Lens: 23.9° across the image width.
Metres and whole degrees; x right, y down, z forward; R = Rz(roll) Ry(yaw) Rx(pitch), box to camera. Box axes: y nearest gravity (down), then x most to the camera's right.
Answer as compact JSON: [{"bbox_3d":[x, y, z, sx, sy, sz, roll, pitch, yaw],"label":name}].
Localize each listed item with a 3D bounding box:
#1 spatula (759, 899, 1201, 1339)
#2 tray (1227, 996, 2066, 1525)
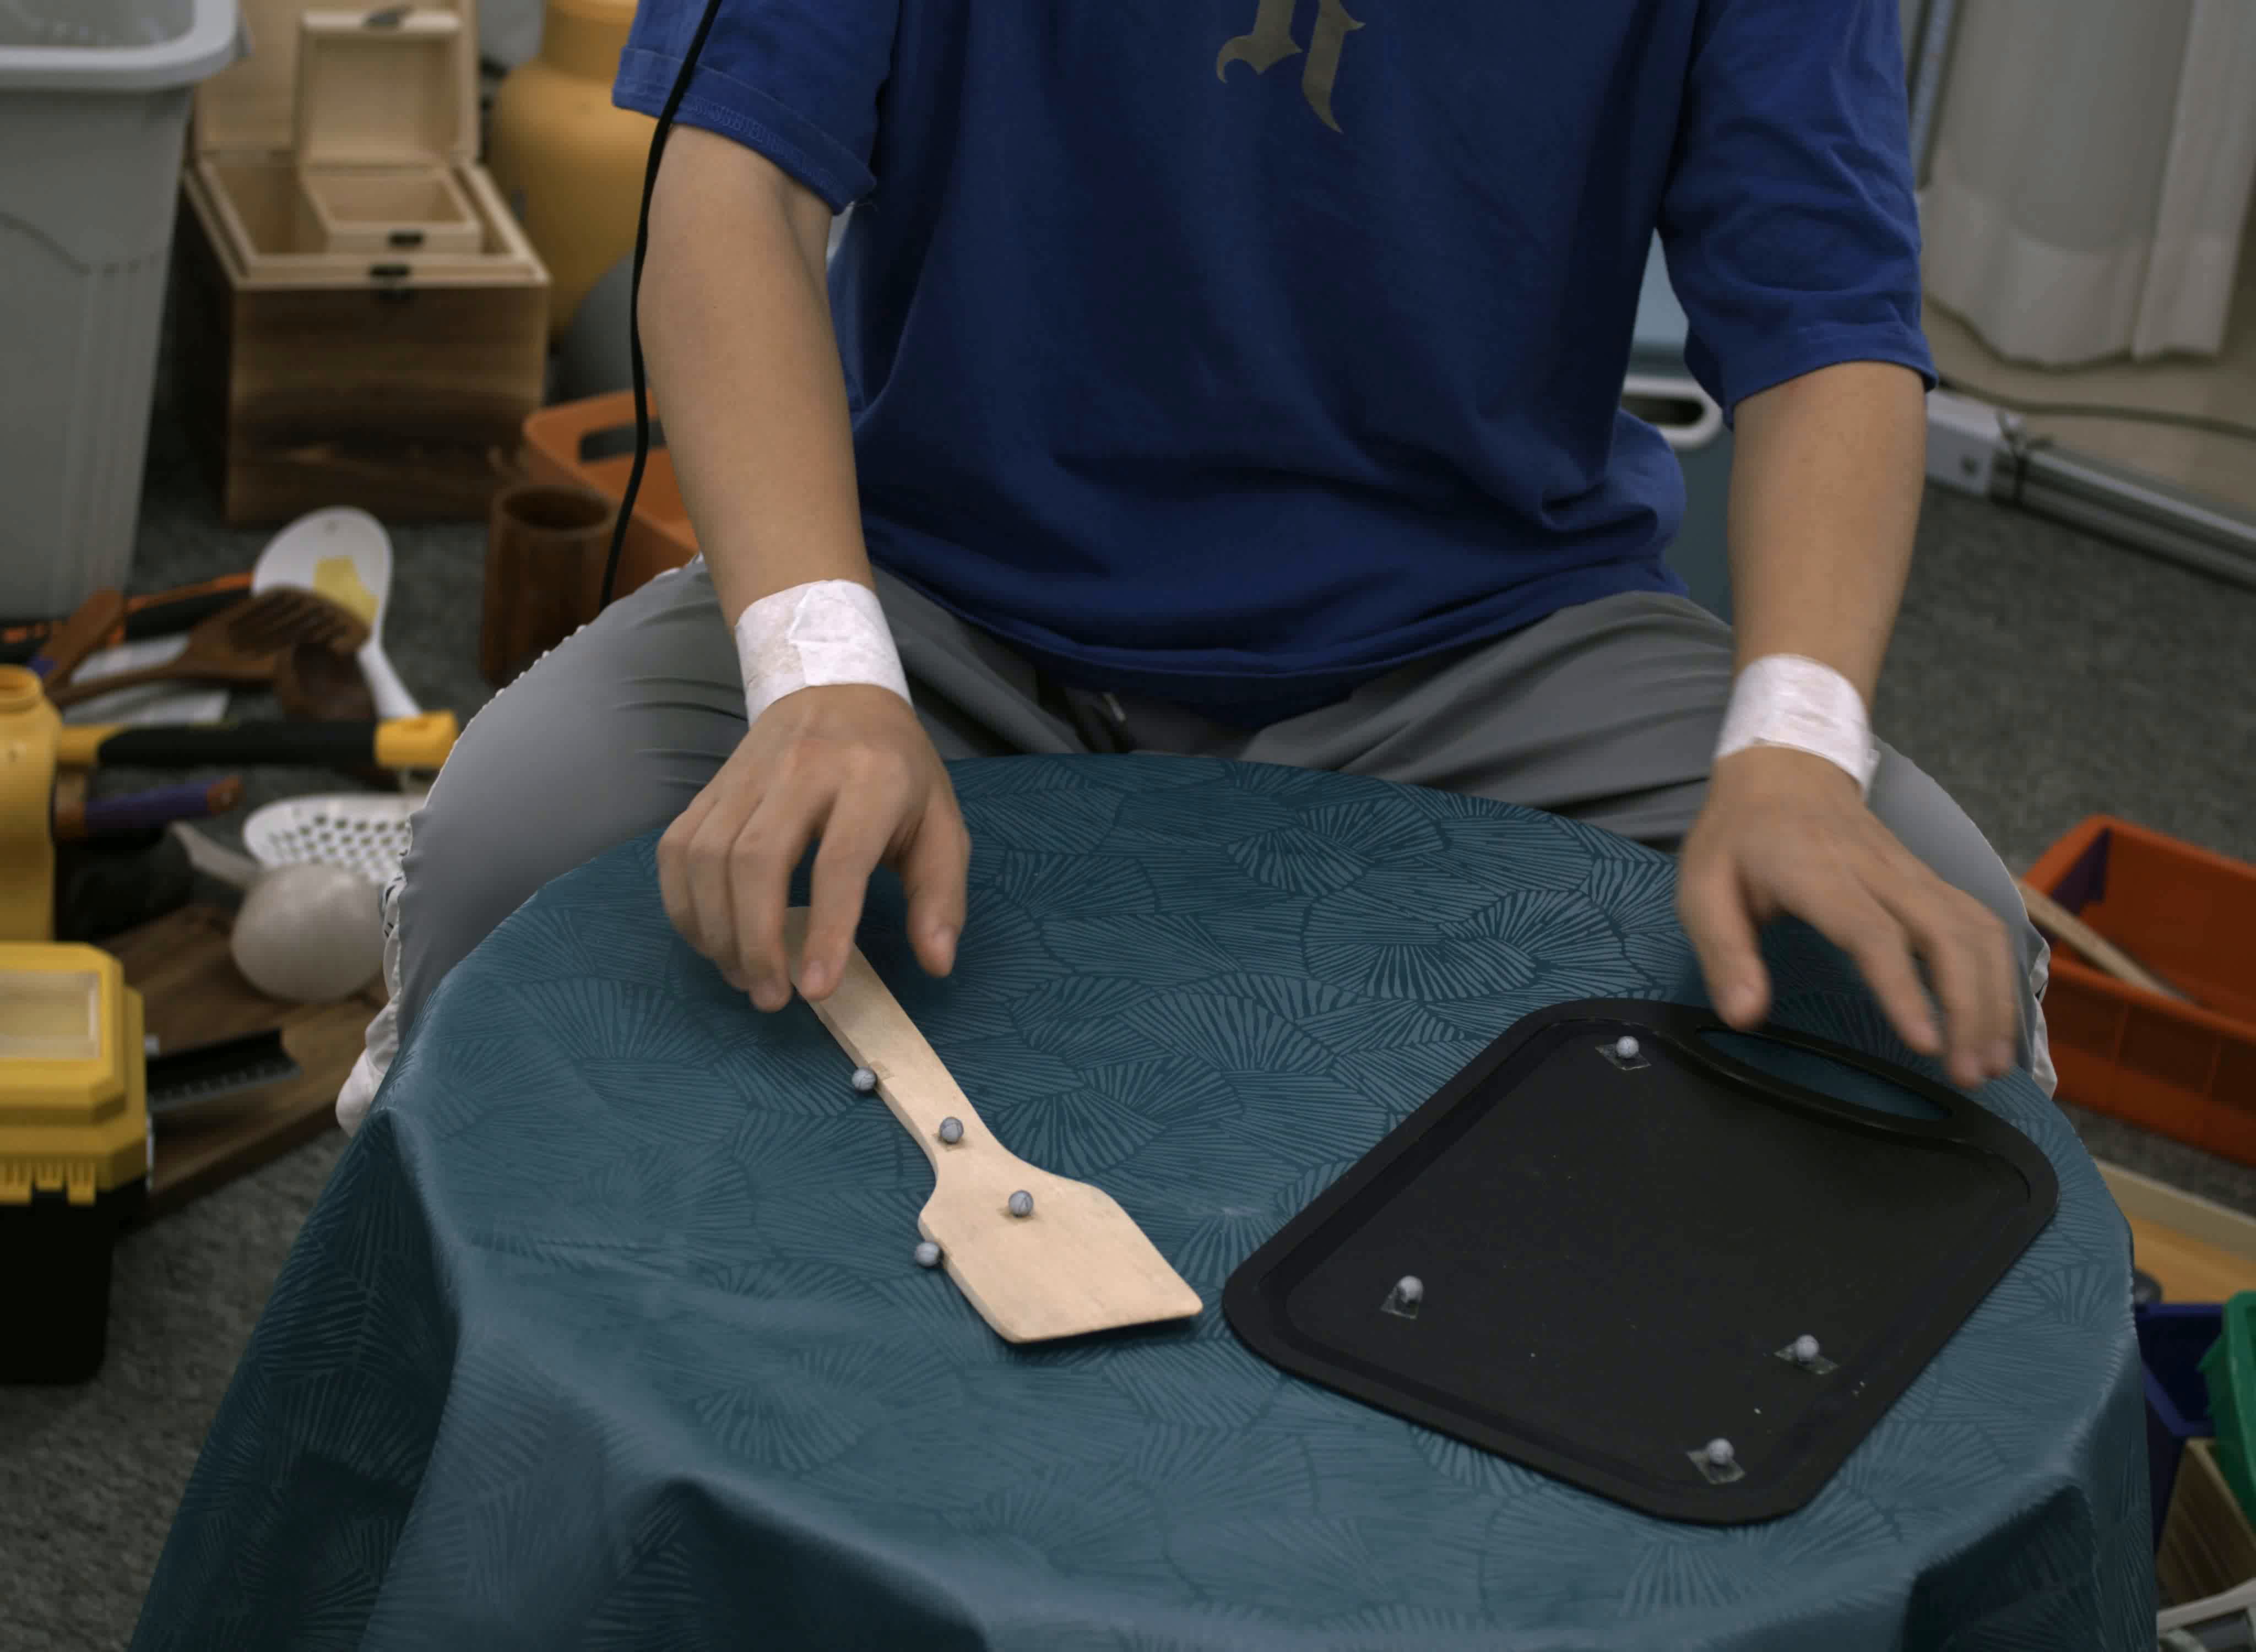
[{"bbox_3d":[-0.066,0.096,1.832,0.072,0.010,0.296,-8,30,-23],"label":"spatula"},{"bbox_3d":[0.184,0.136,1.813,0.212,0.010,0.325,20,30,24],"label":"tray"}]
